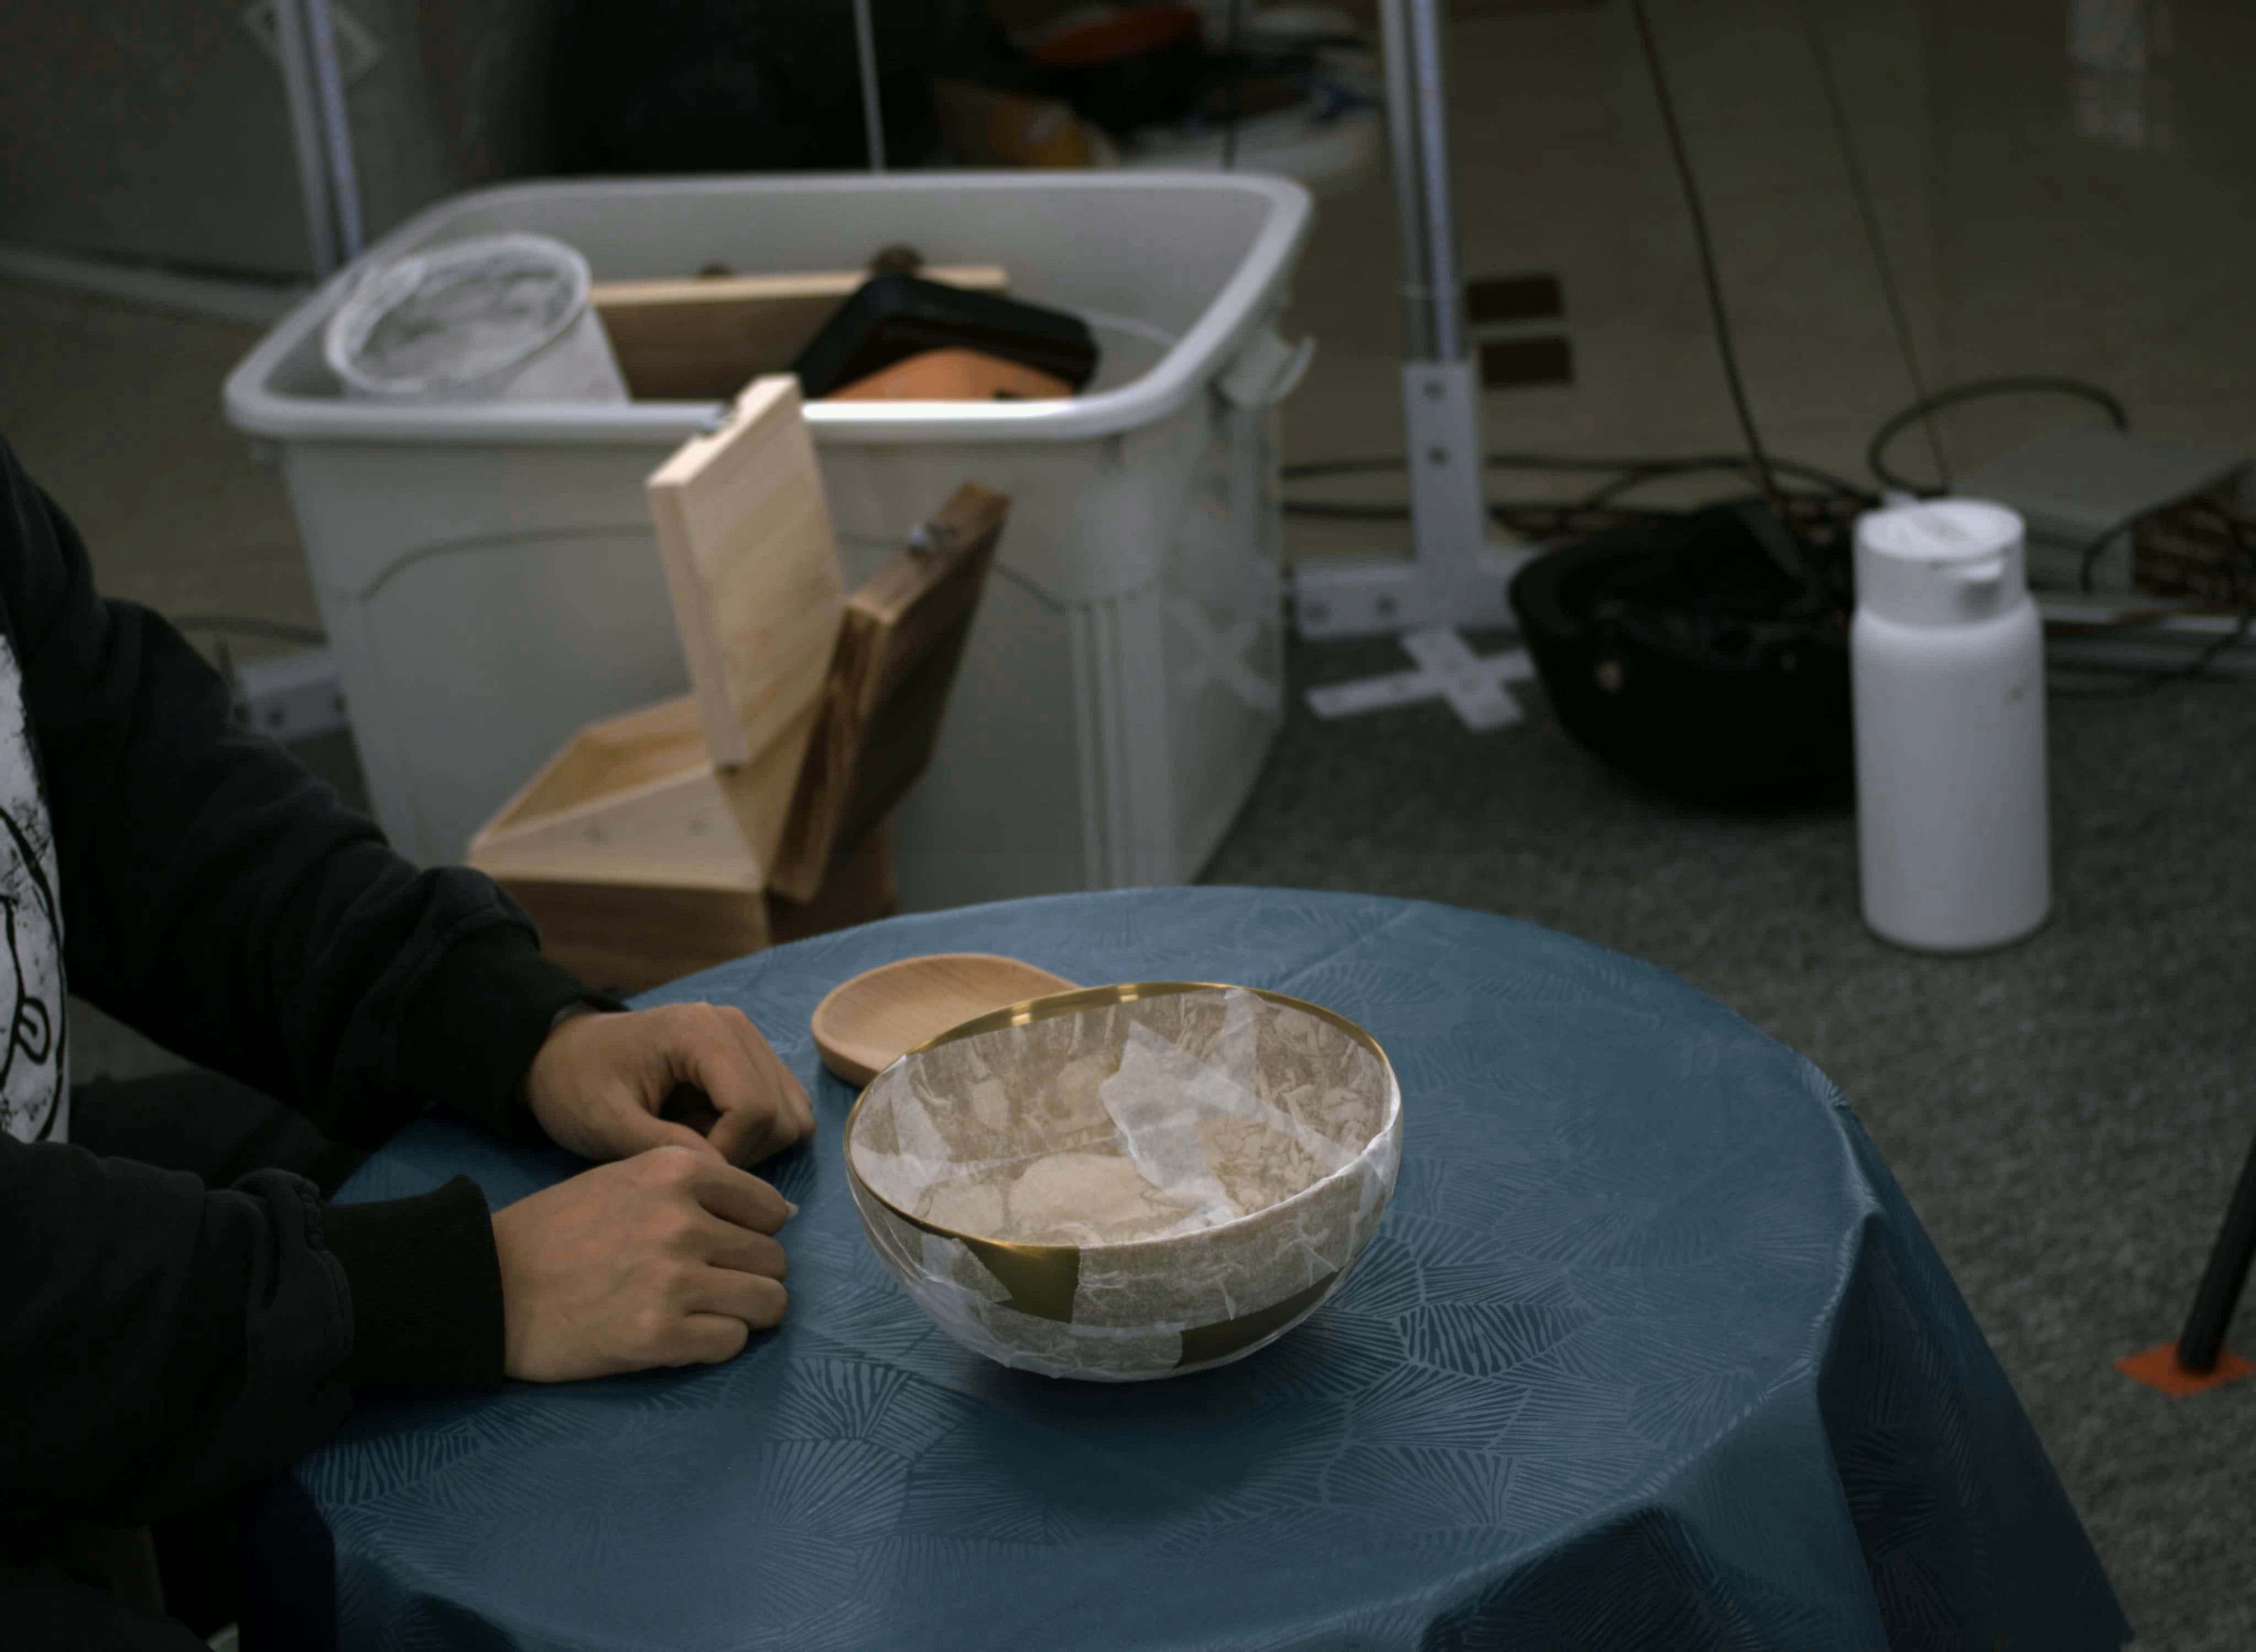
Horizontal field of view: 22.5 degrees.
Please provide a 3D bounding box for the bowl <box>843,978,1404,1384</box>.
[{"bbox_3d":[0.001,0.138,2.042,0.214,0.096,0.211,-6,26,3],"label":"bowl"}]

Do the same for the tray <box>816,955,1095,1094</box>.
[{"bbox_3d":[-0.031,0.098,2.232,0.101,0.020,0.229,-28,34,-34],"label":"tray"}]
